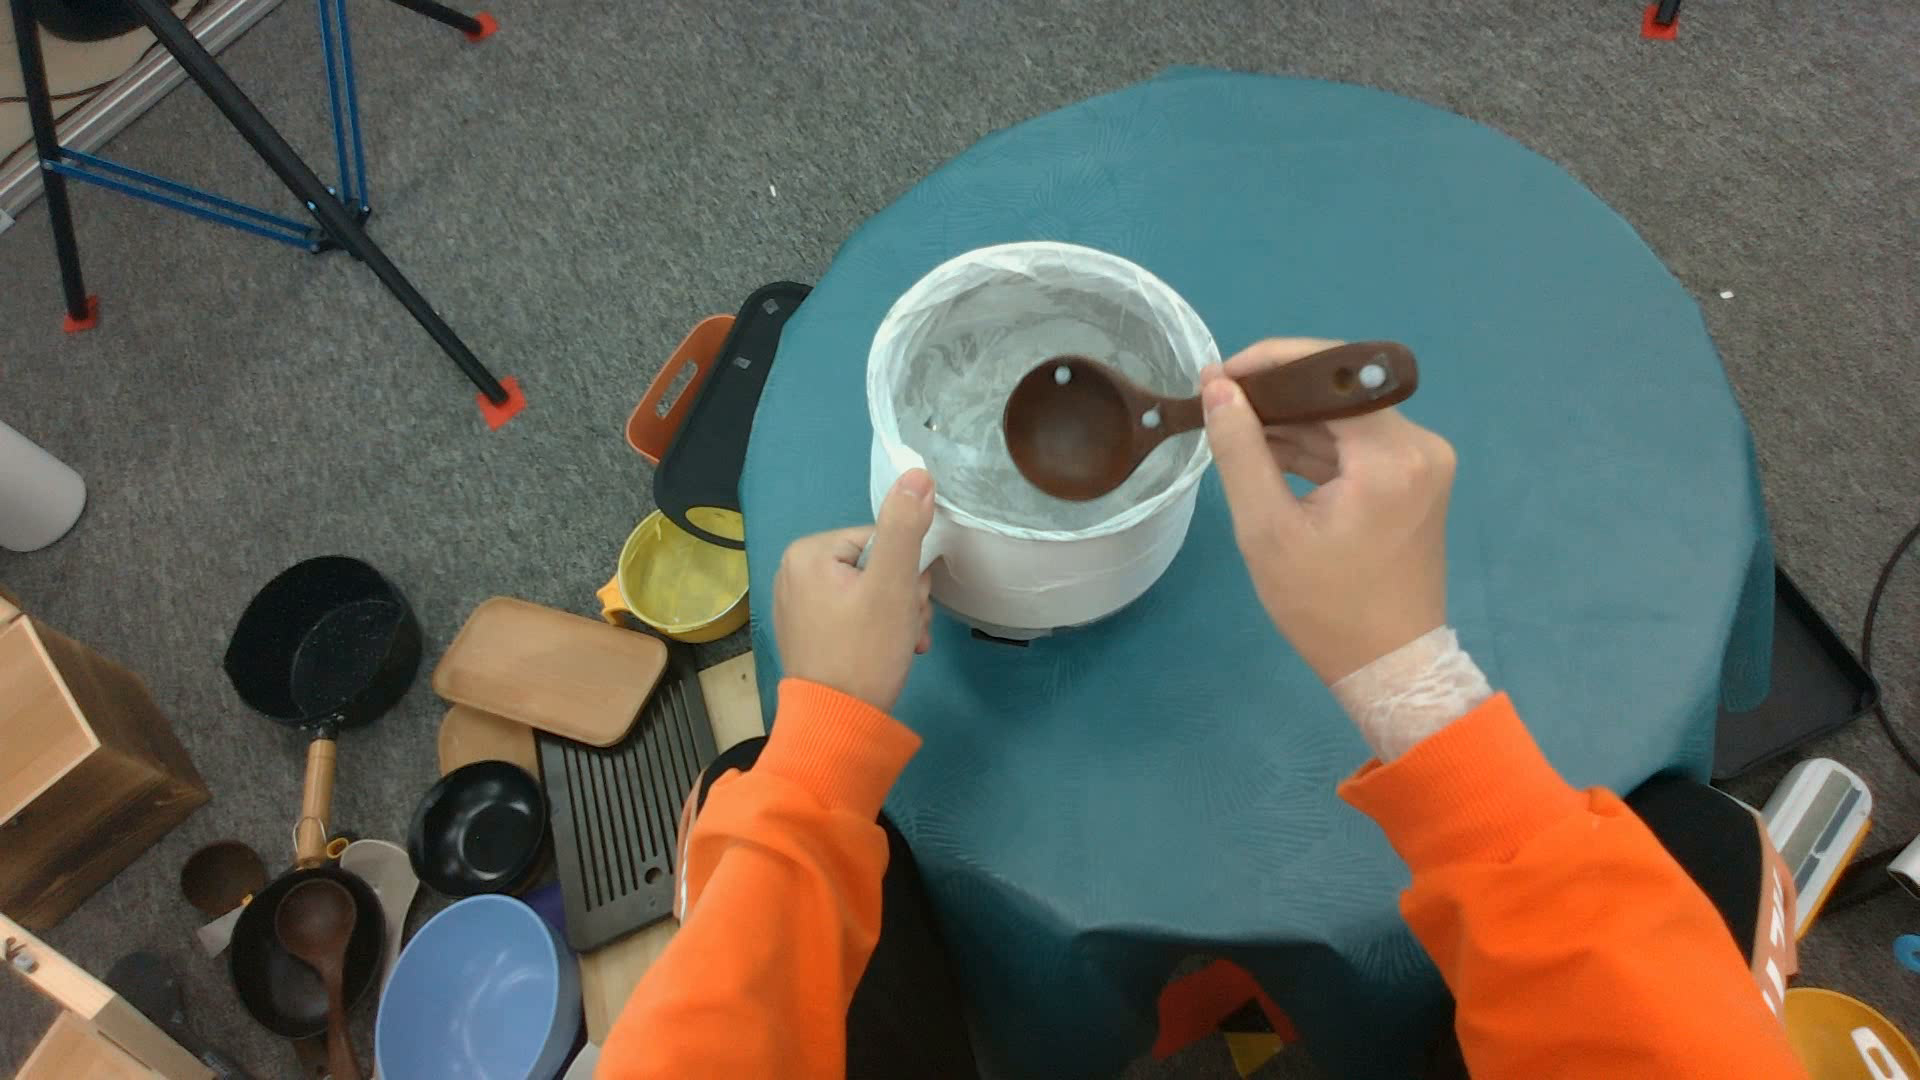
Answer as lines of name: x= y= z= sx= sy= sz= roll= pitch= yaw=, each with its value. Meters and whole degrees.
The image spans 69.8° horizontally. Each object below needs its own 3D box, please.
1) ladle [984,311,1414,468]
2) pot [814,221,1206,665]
ladle: x=0.084 y=-0.067 z=0.583 sx=0.065 sy=0.260 sz=0.076 roll=-21 pitch=101 yaw=-18
pot: x=0.012 y=-0.039 z=0.714 sx=0.179 sy=0.136 sz=0.234 roll=35 pitch=66 yaw=16
